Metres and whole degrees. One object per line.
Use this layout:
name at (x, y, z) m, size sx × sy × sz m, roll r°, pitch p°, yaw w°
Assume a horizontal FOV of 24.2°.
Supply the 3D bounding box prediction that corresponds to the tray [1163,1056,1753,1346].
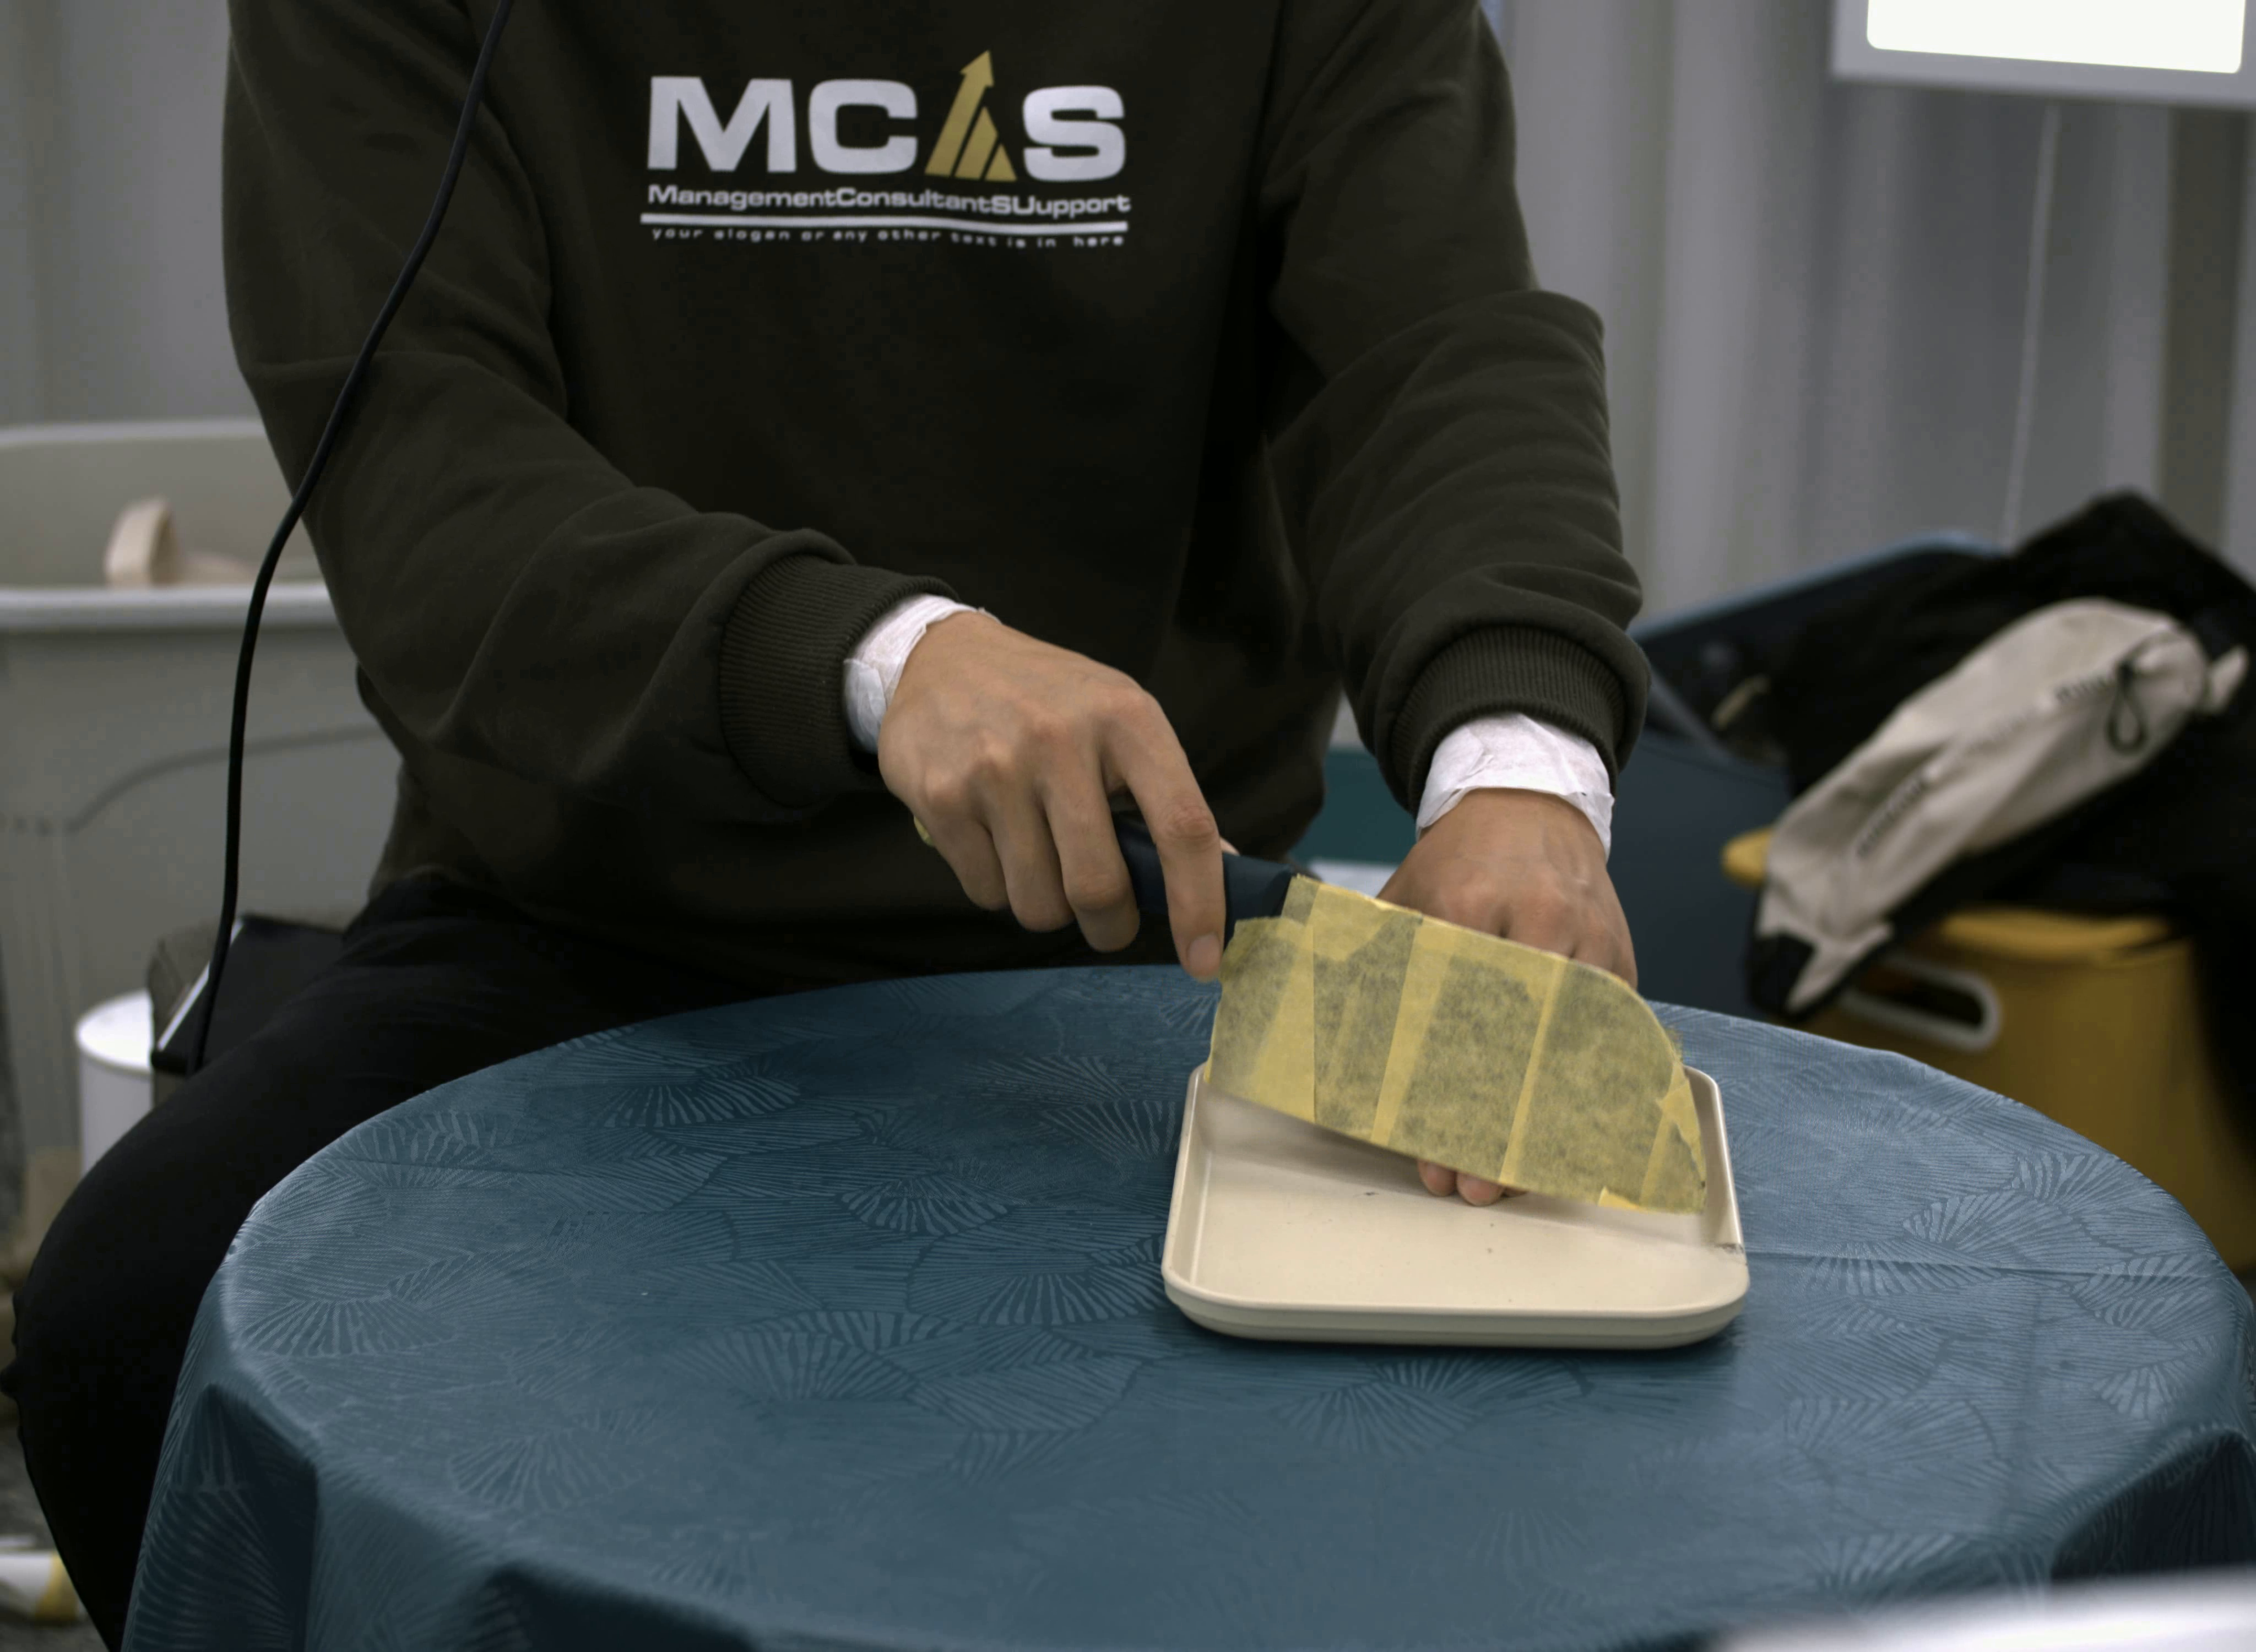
tray at (0.098, 0.112, 1.597) m, size 0.170 × 0.017 × 0.238 m, roll 1°, pitch 15°, yaw 2°

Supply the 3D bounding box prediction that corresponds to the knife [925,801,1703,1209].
knife at (0.053, 0.052, 1.630) m, size 0.286 × 0.081 × 0.027 m, roll 21°, pitch 8°, yaw 28°
